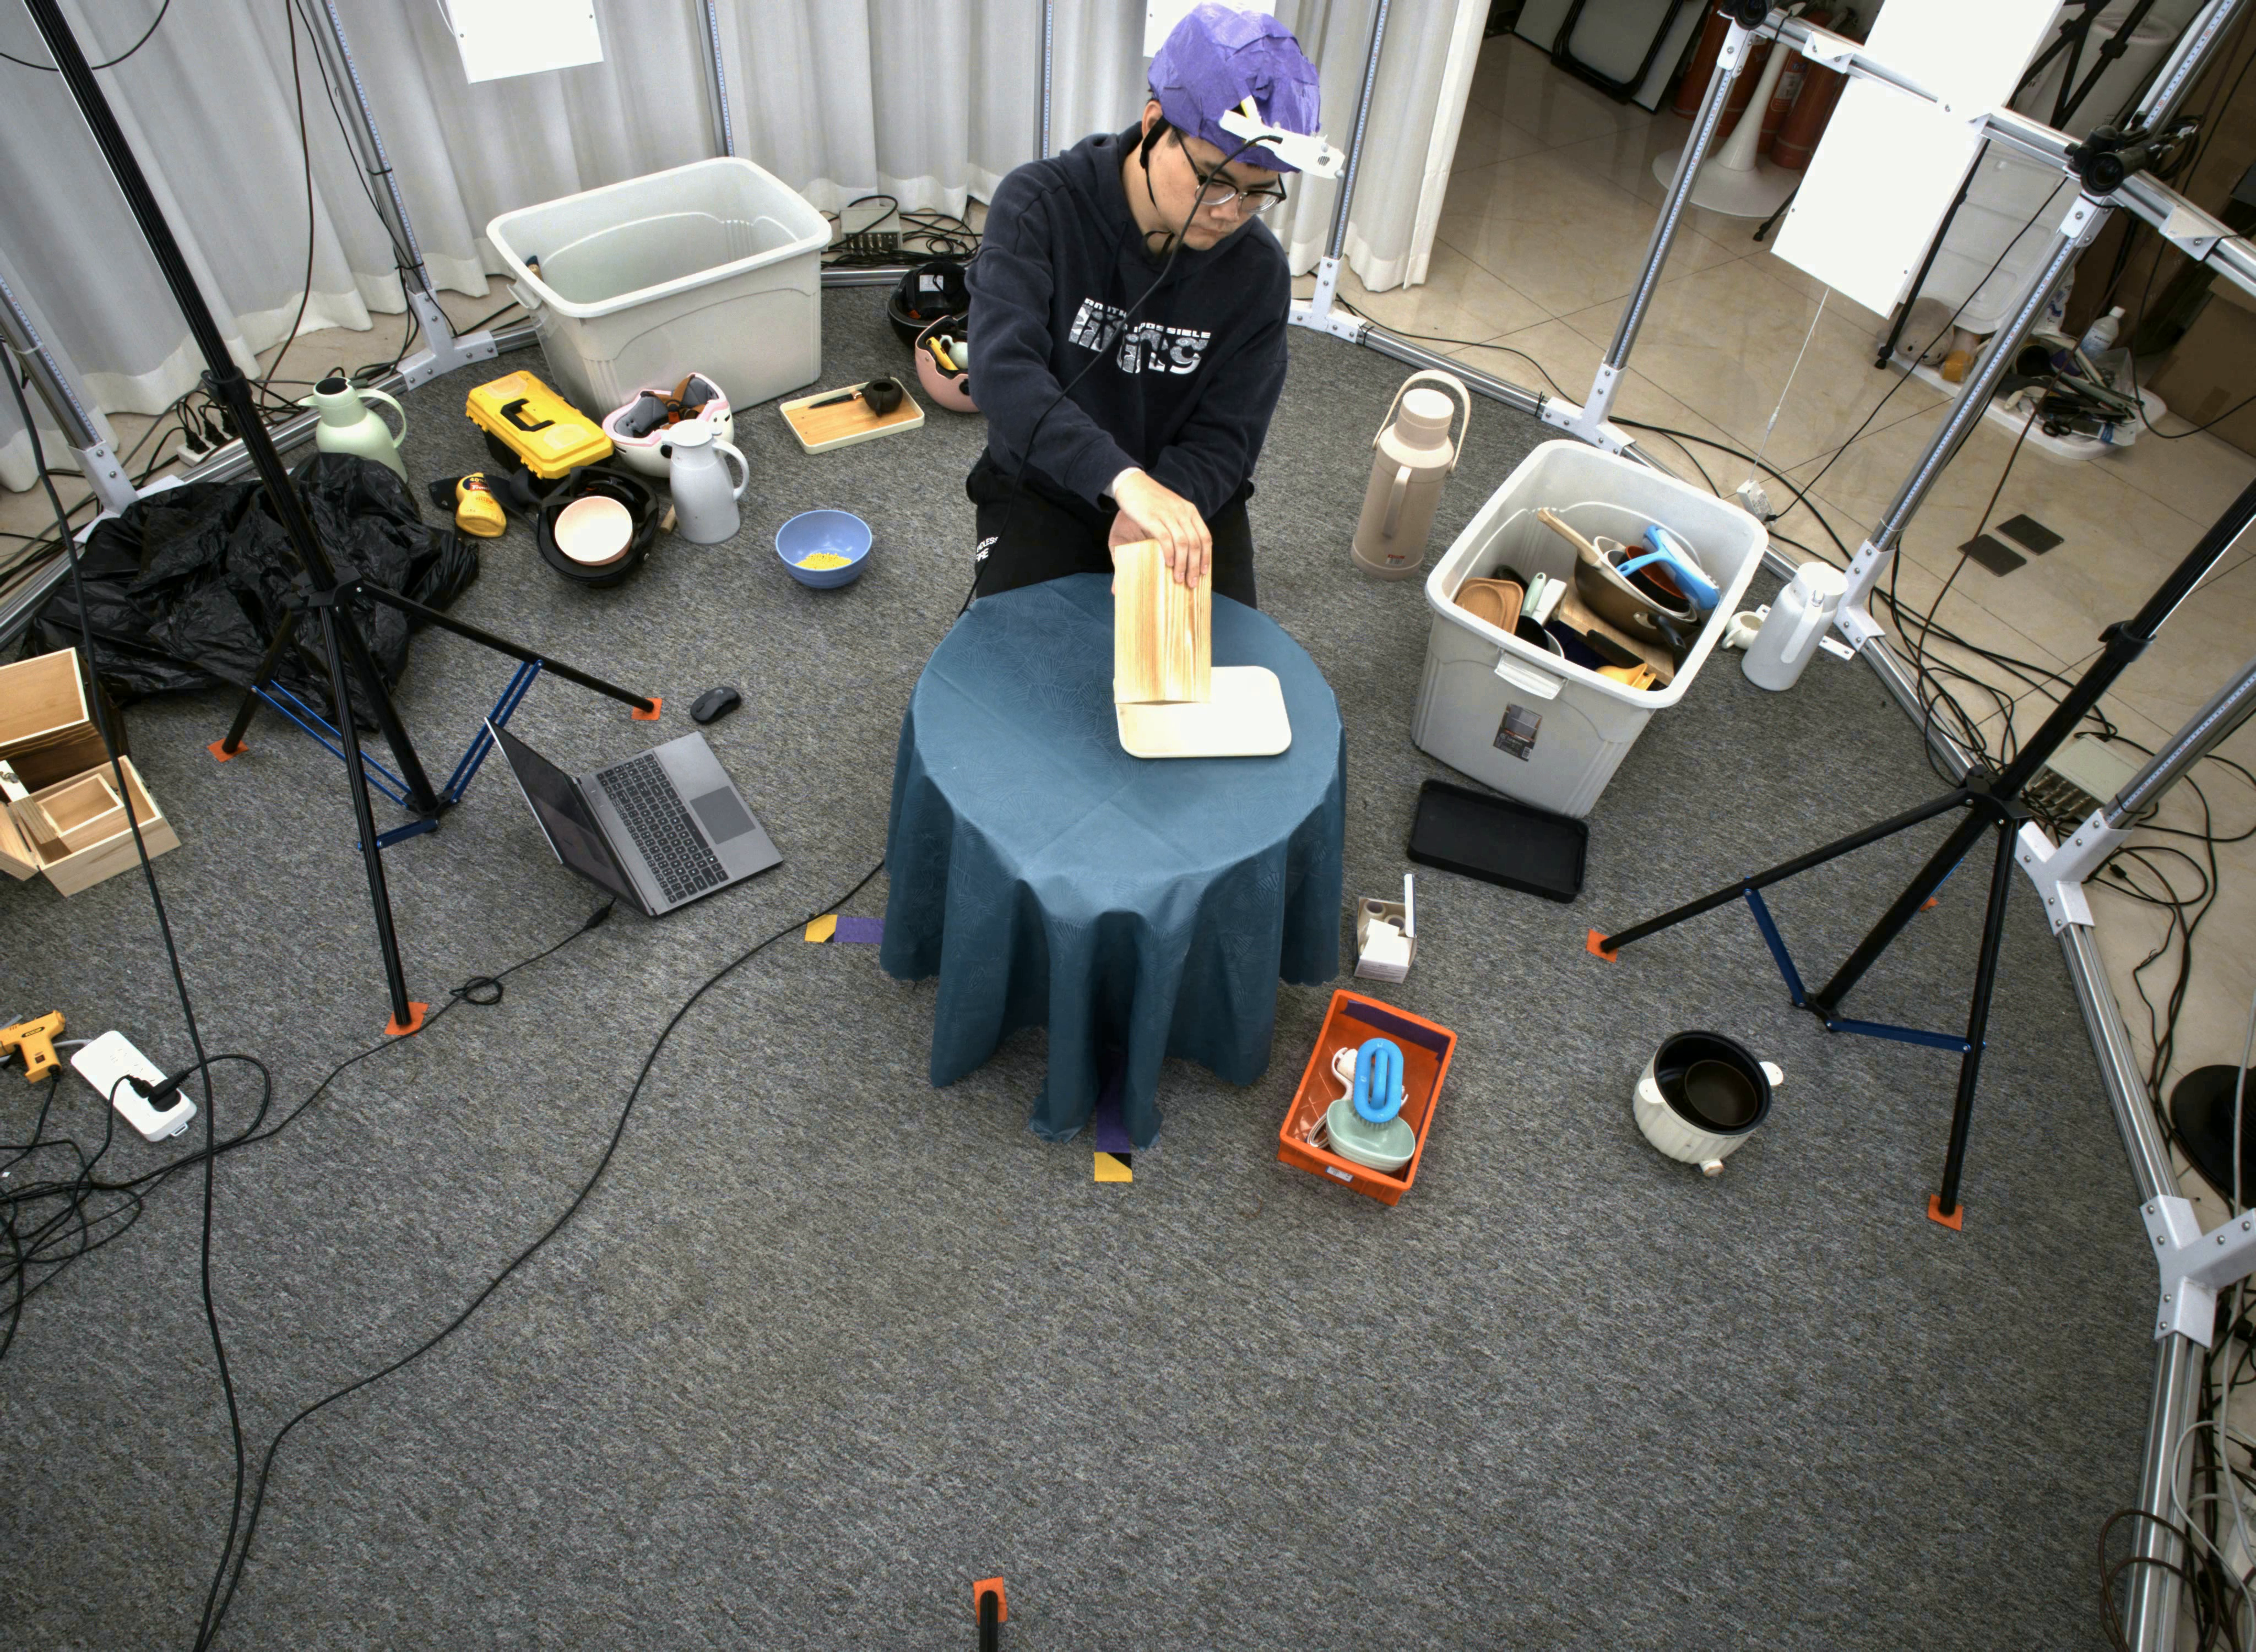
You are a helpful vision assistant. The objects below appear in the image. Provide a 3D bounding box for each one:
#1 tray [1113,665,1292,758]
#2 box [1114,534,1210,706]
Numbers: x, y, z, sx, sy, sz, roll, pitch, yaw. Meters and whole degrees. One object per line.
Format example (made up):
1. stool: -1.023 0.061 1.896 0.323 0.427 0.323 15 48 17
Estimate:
1. tray: 0.102 -0.160 1.801 0.239 0.017 0.175 -2 49 -6
2. box: 0.044 -0.268 1.692 0.080 0.211 0.108 0 0 -38
